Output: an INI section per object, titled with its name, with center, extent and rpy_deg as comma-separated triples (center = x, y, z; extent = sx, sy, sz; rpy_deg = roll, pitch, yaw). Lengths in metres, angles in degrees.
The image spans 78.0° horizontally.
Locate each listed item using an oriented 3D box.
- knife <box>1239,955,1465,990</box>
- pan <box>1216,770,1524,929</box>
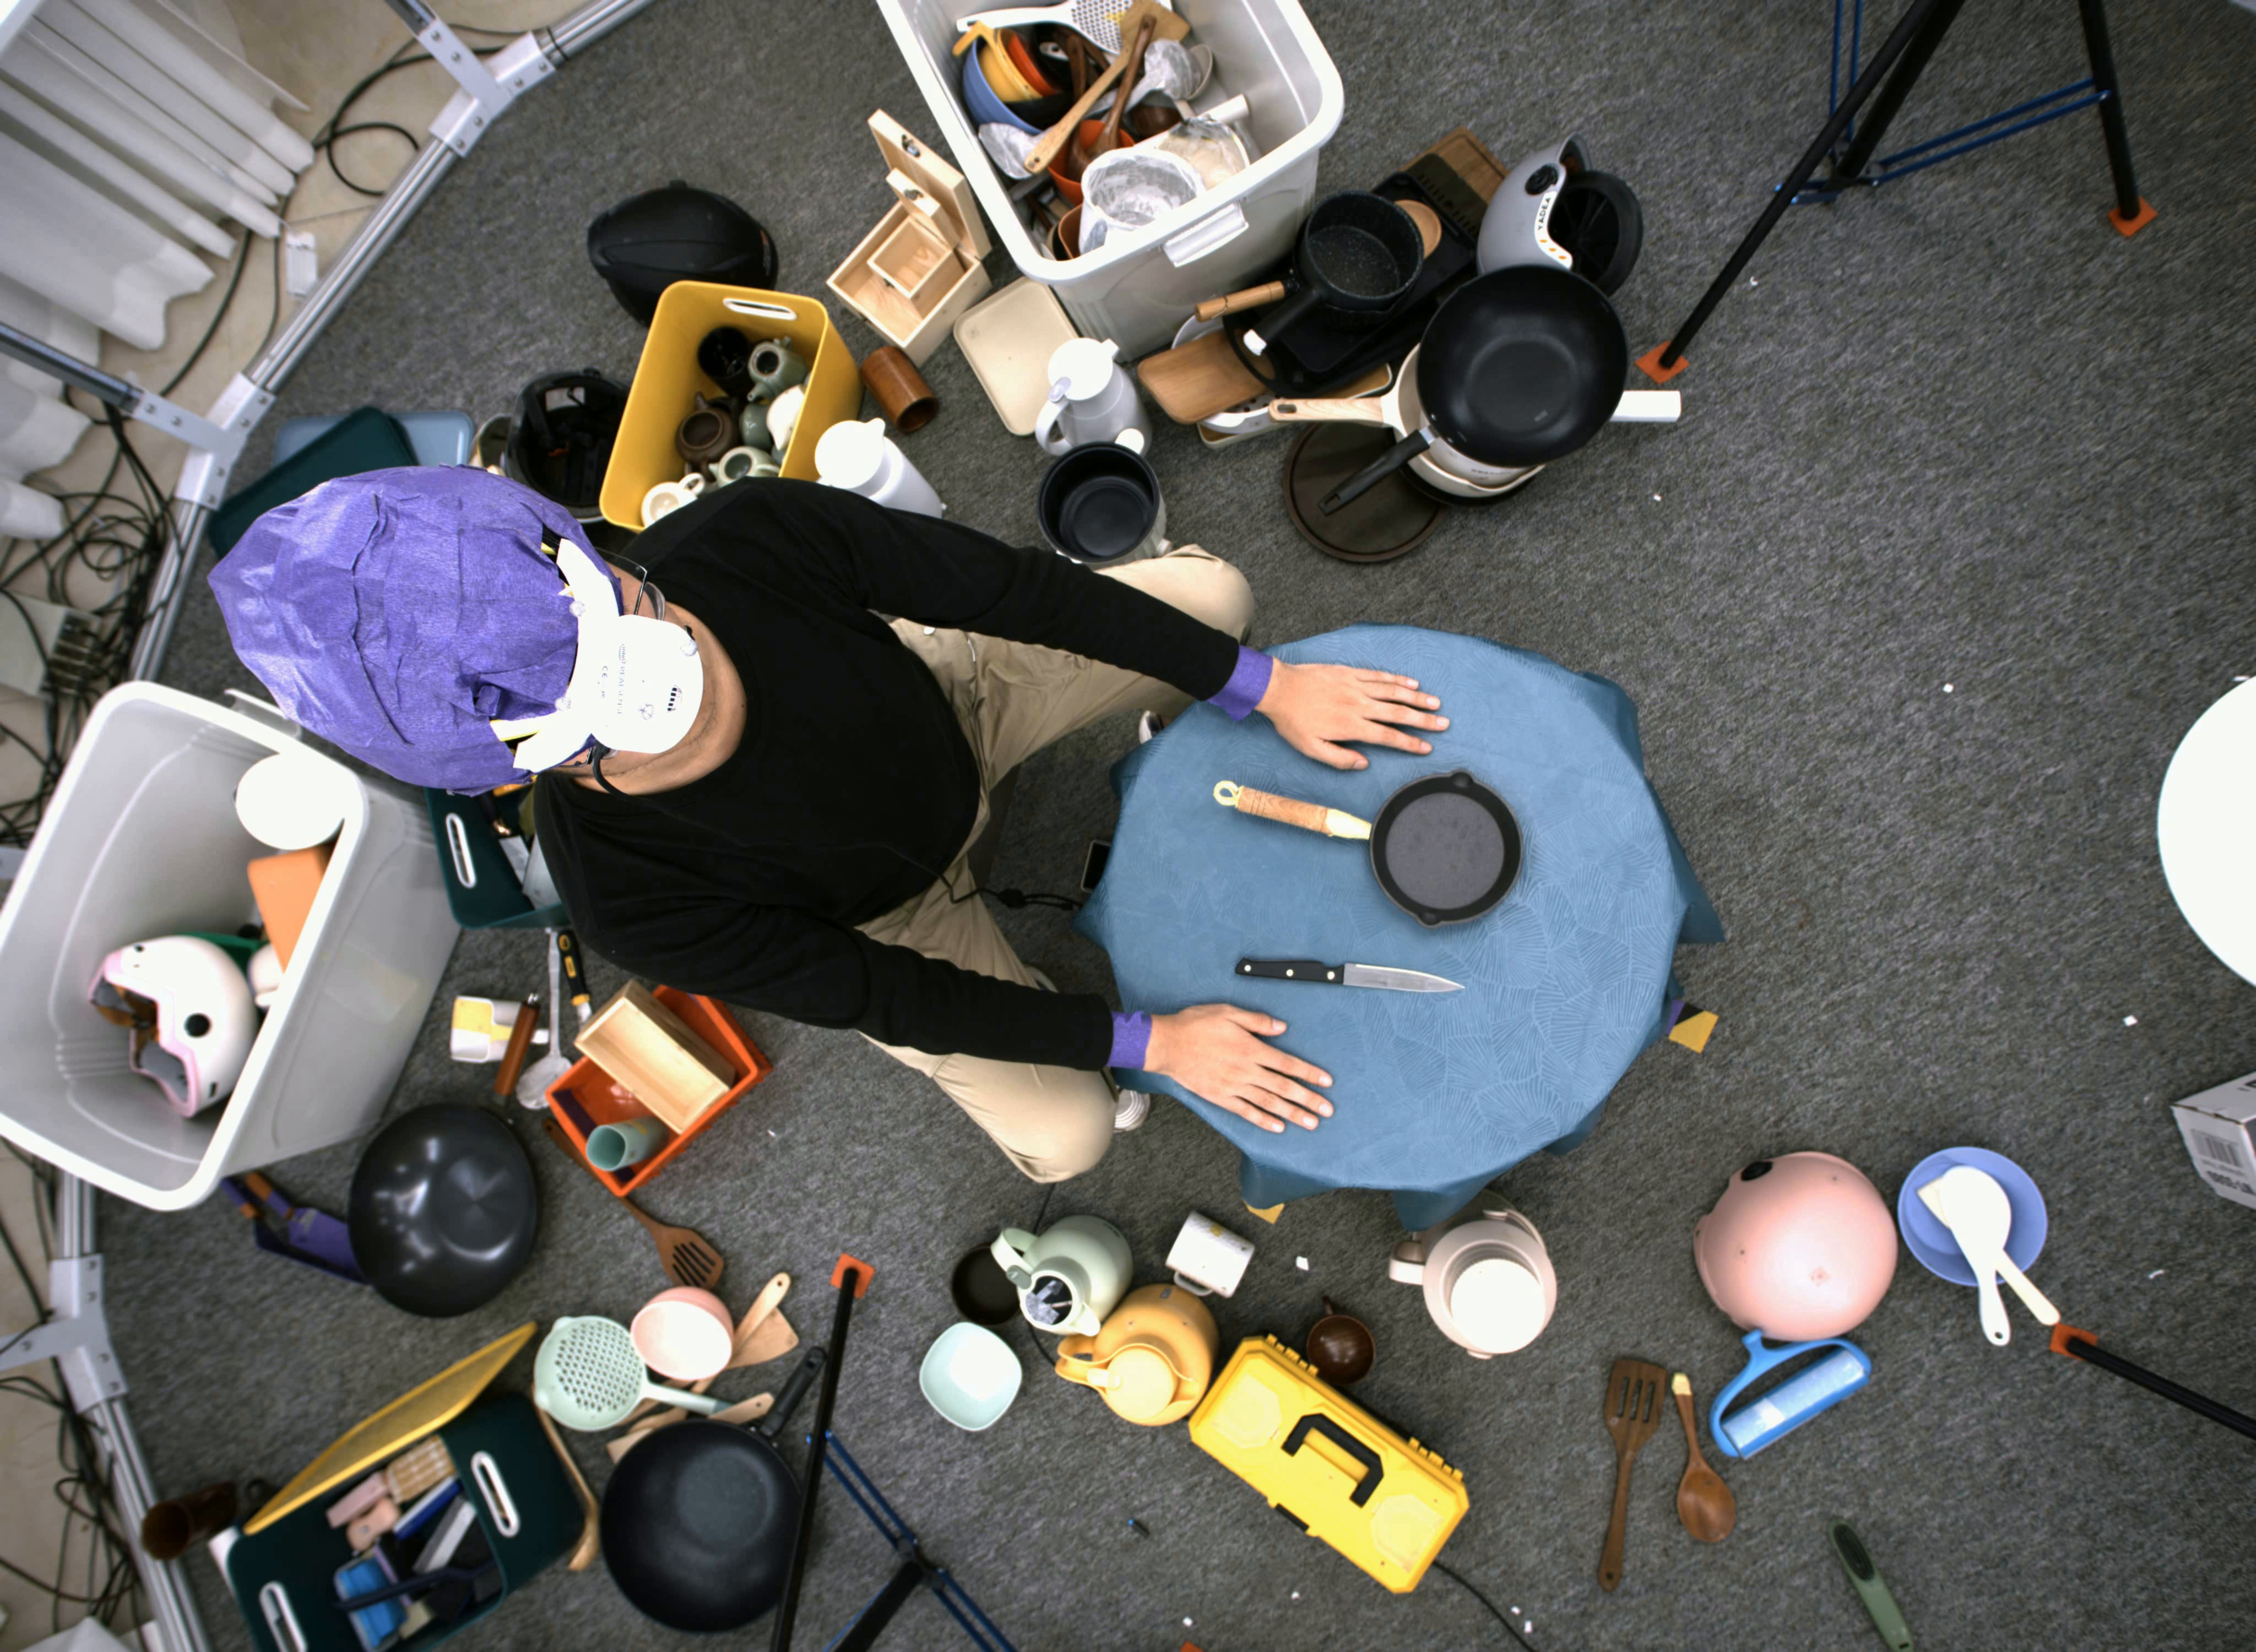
[knife]
center = 0.235, 0.156, 1.459
extent = 0.239, 0.016, 0.024
rpy_deg = 5, 86, 8
[pan]
center = 0.250, 0.001, 1.445
extent = 0.324, 0.049, 0.169
rpy_deg = 16, 90, 12
